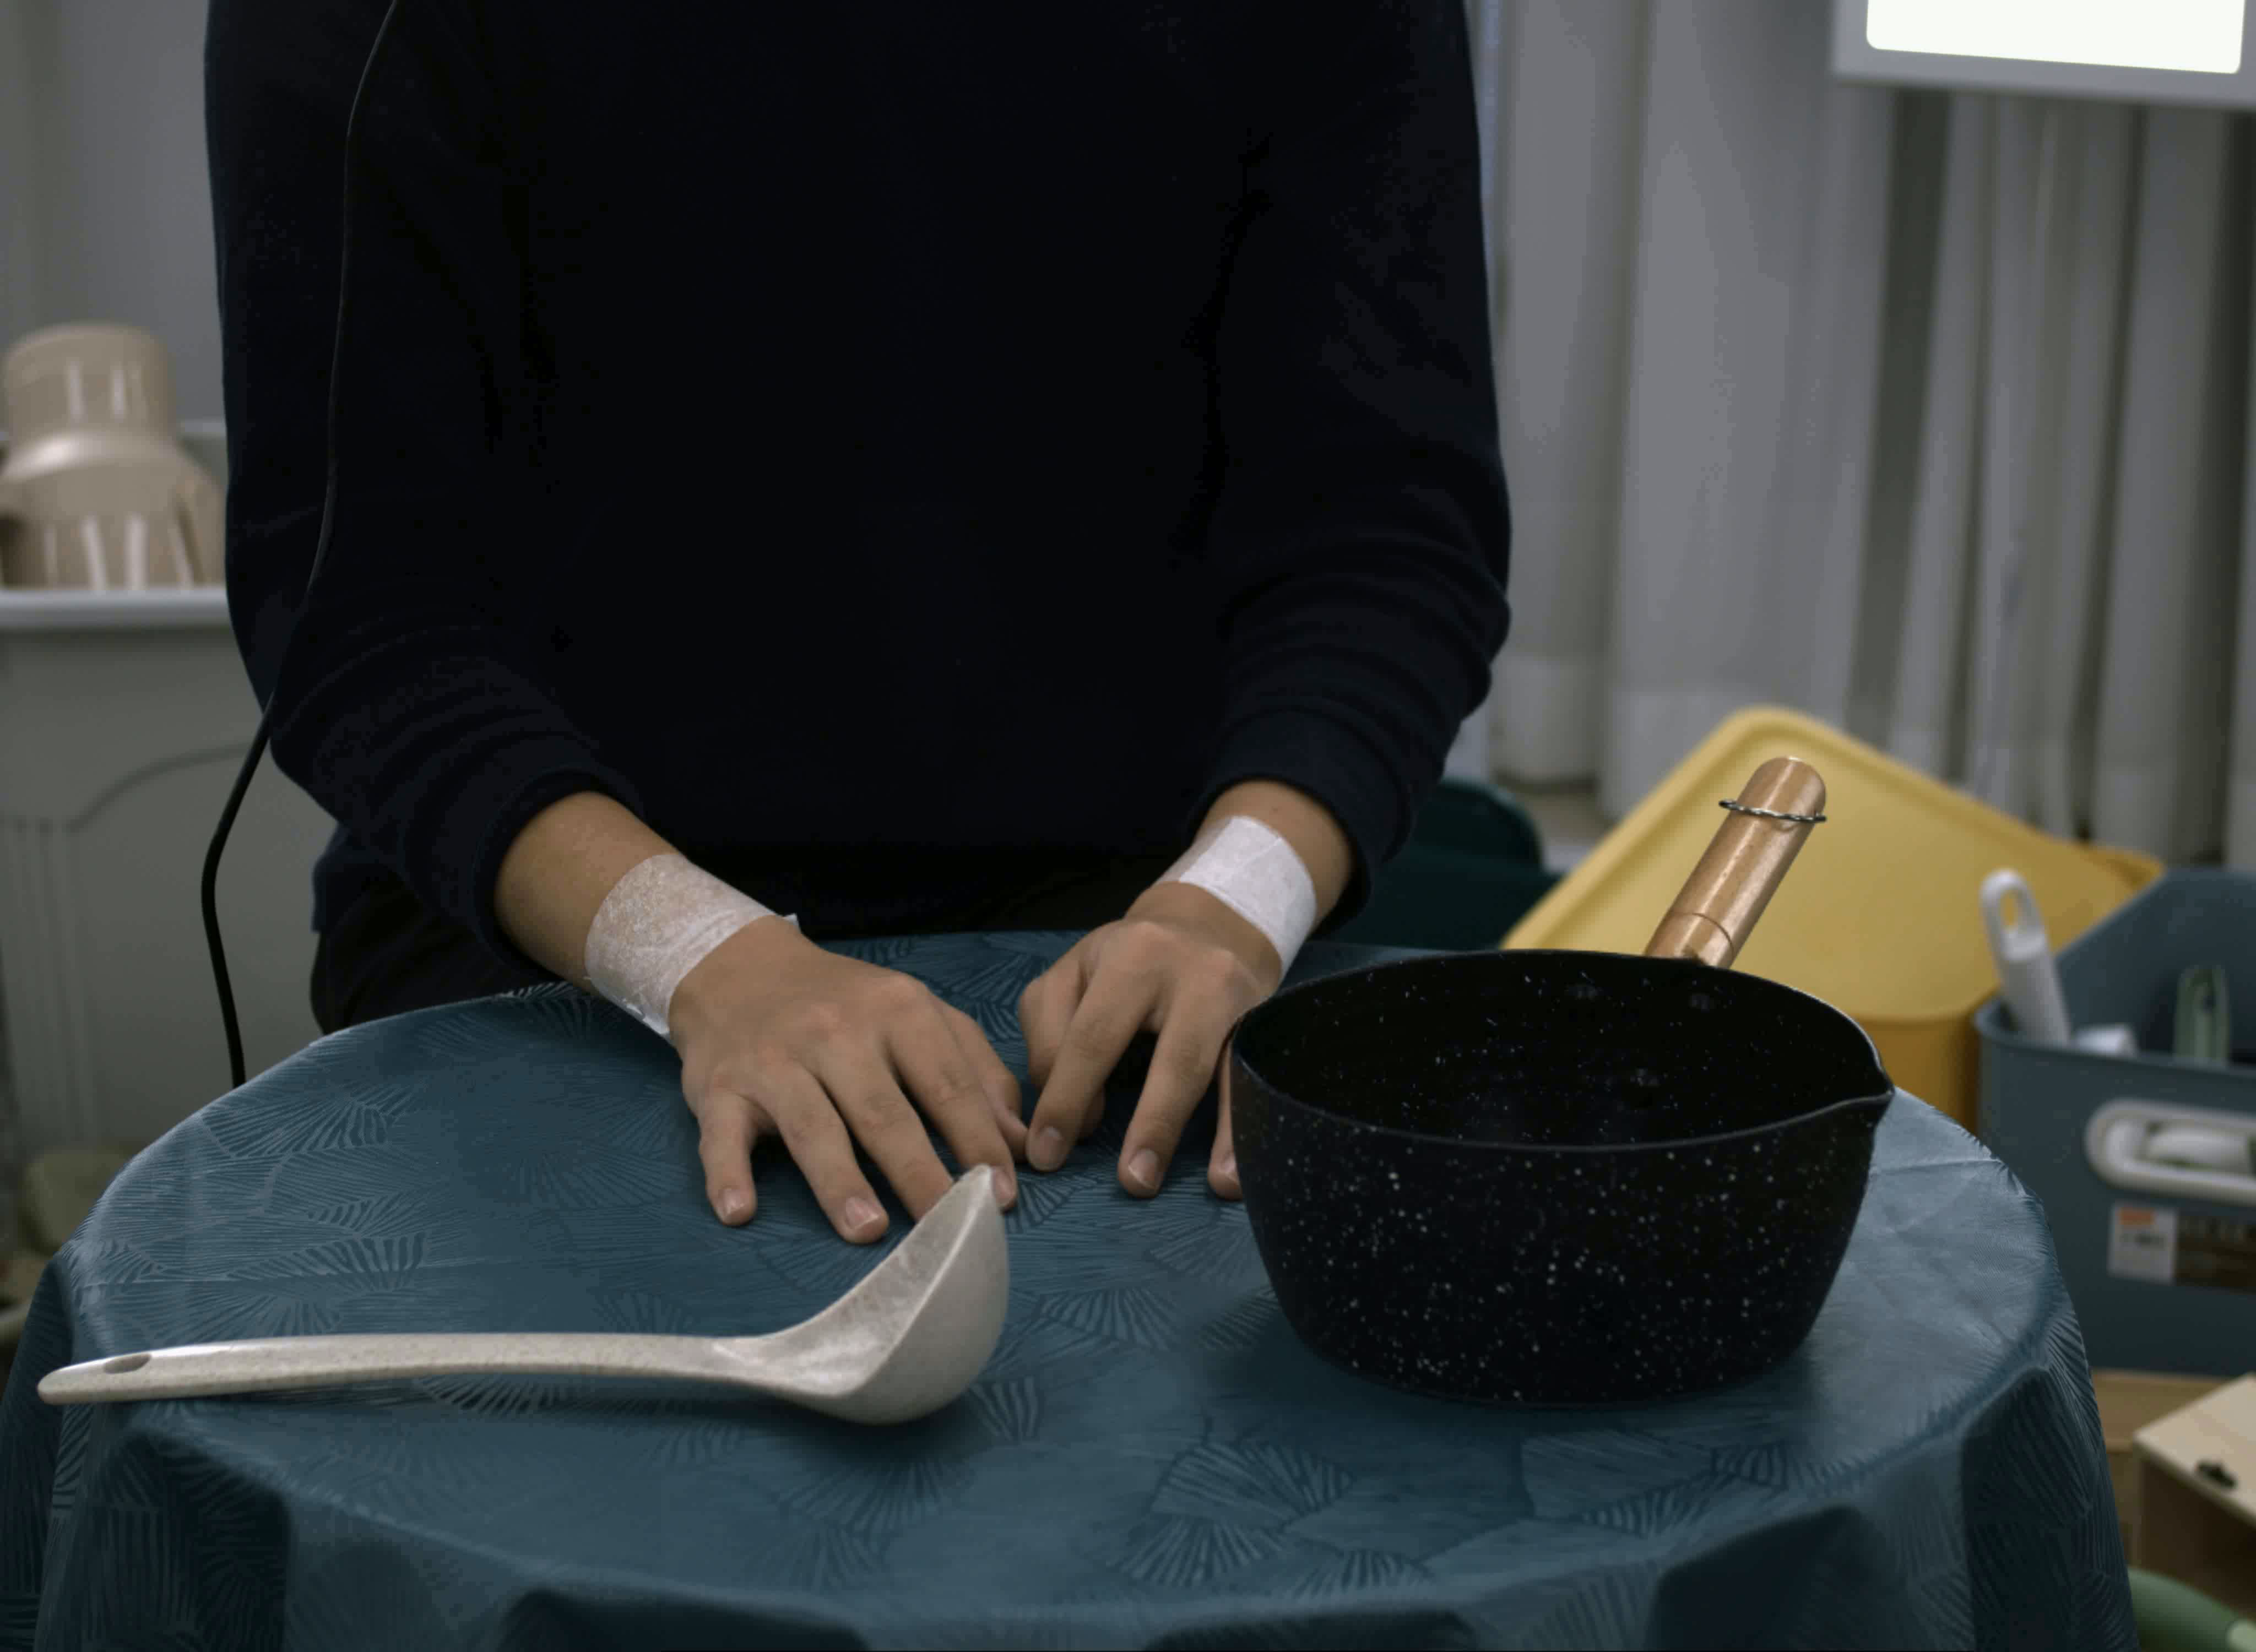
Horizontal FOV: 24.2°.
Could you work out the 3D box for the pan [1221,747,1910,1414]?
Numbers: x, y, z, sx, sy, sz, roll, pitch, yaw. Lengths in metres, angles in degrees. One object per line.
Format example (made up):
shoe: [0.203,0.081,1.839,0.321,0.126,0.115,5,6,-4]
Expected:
pan: [0.150,0.070,1.576,0.205,0.109,0.343,5,18,21]

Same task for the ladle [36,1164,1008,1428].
ladle: [-0.169,0.129,1.444,0.273,0.070,0.089,0,25,5]
